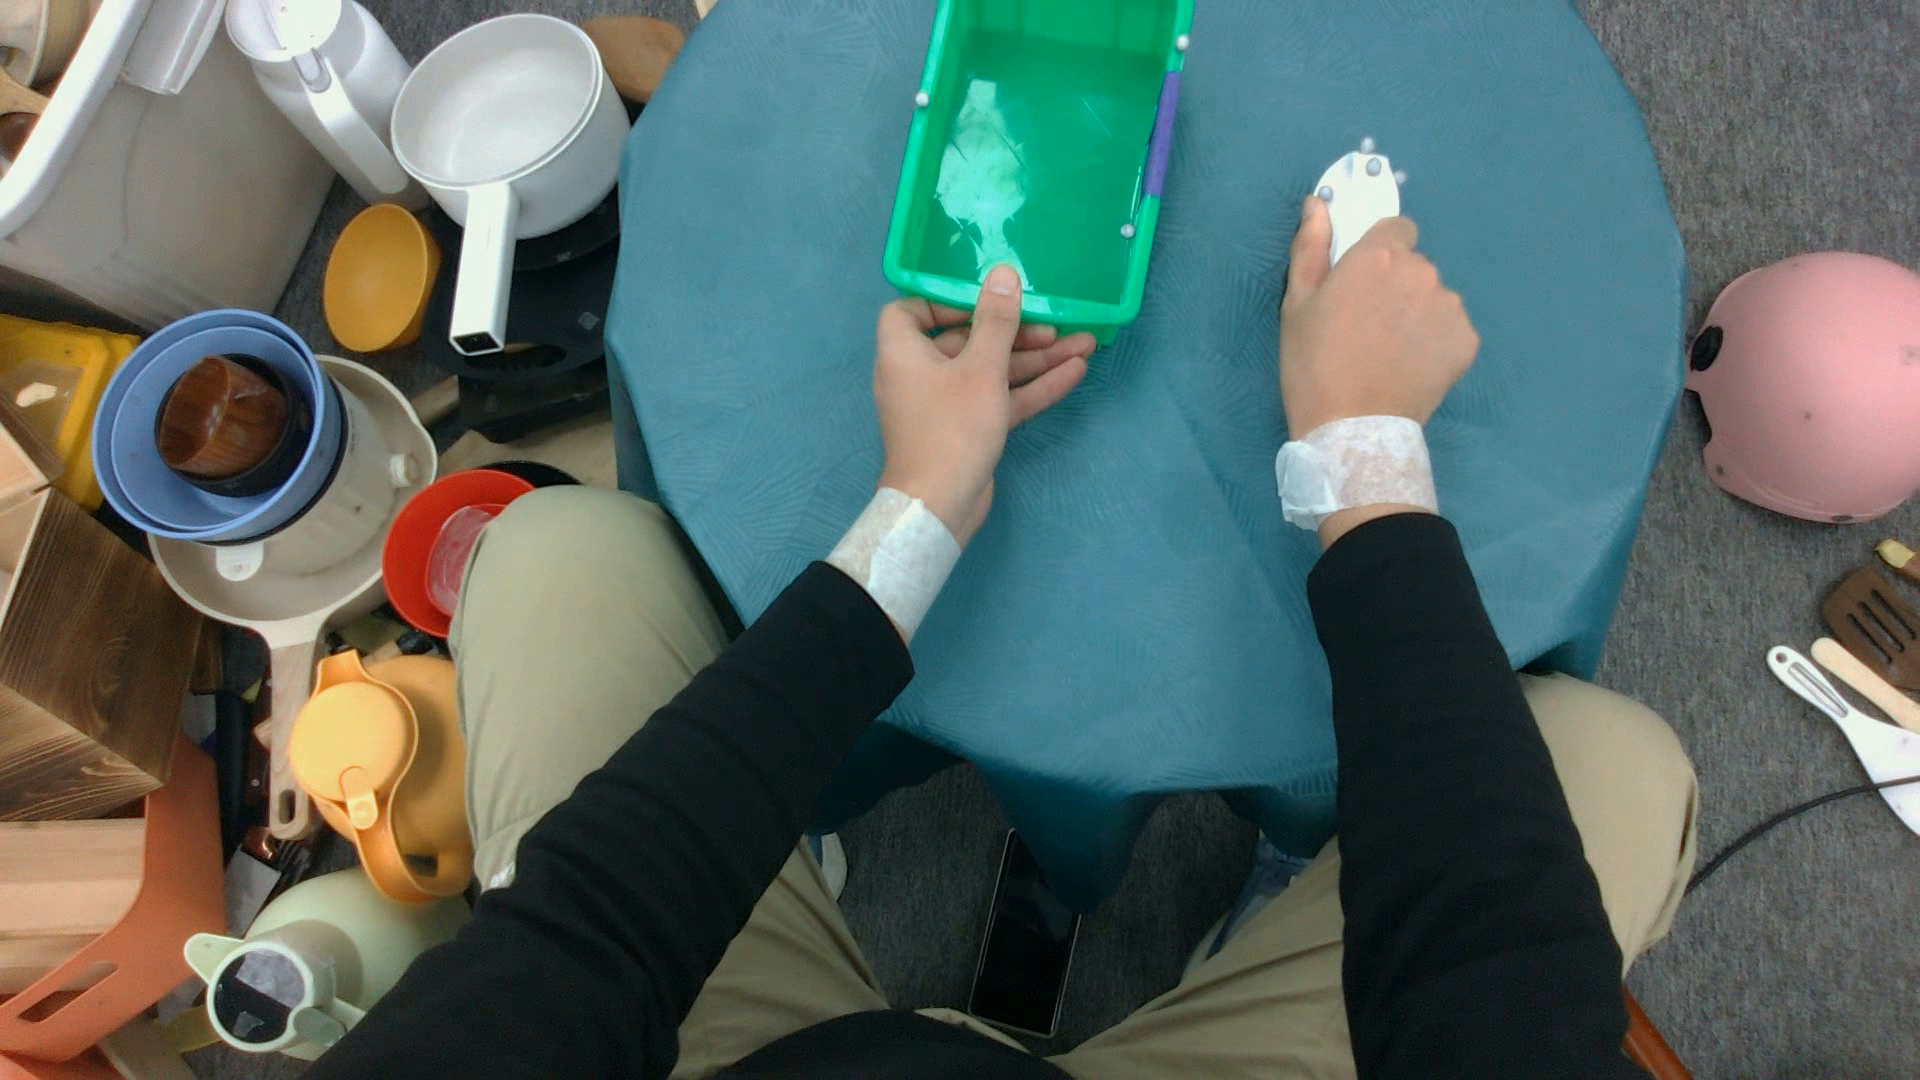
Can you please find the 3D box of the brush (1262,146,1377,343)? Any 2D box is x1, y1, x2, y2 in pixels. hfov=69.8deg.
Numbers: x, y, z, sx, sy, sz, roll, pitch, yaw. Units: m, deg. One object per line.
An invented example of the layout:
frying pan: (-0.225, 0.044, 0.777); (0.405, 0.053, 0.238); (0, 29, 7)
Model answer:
brush: (0.199, -0.165, 0.744); (0.050, 0.072, 0.099); (15, 77, 4)

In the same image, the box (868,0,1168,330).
box: (0.033, -0.220, 0.765); (0.138, 0.065, 0.211); (9, 76, 0)
